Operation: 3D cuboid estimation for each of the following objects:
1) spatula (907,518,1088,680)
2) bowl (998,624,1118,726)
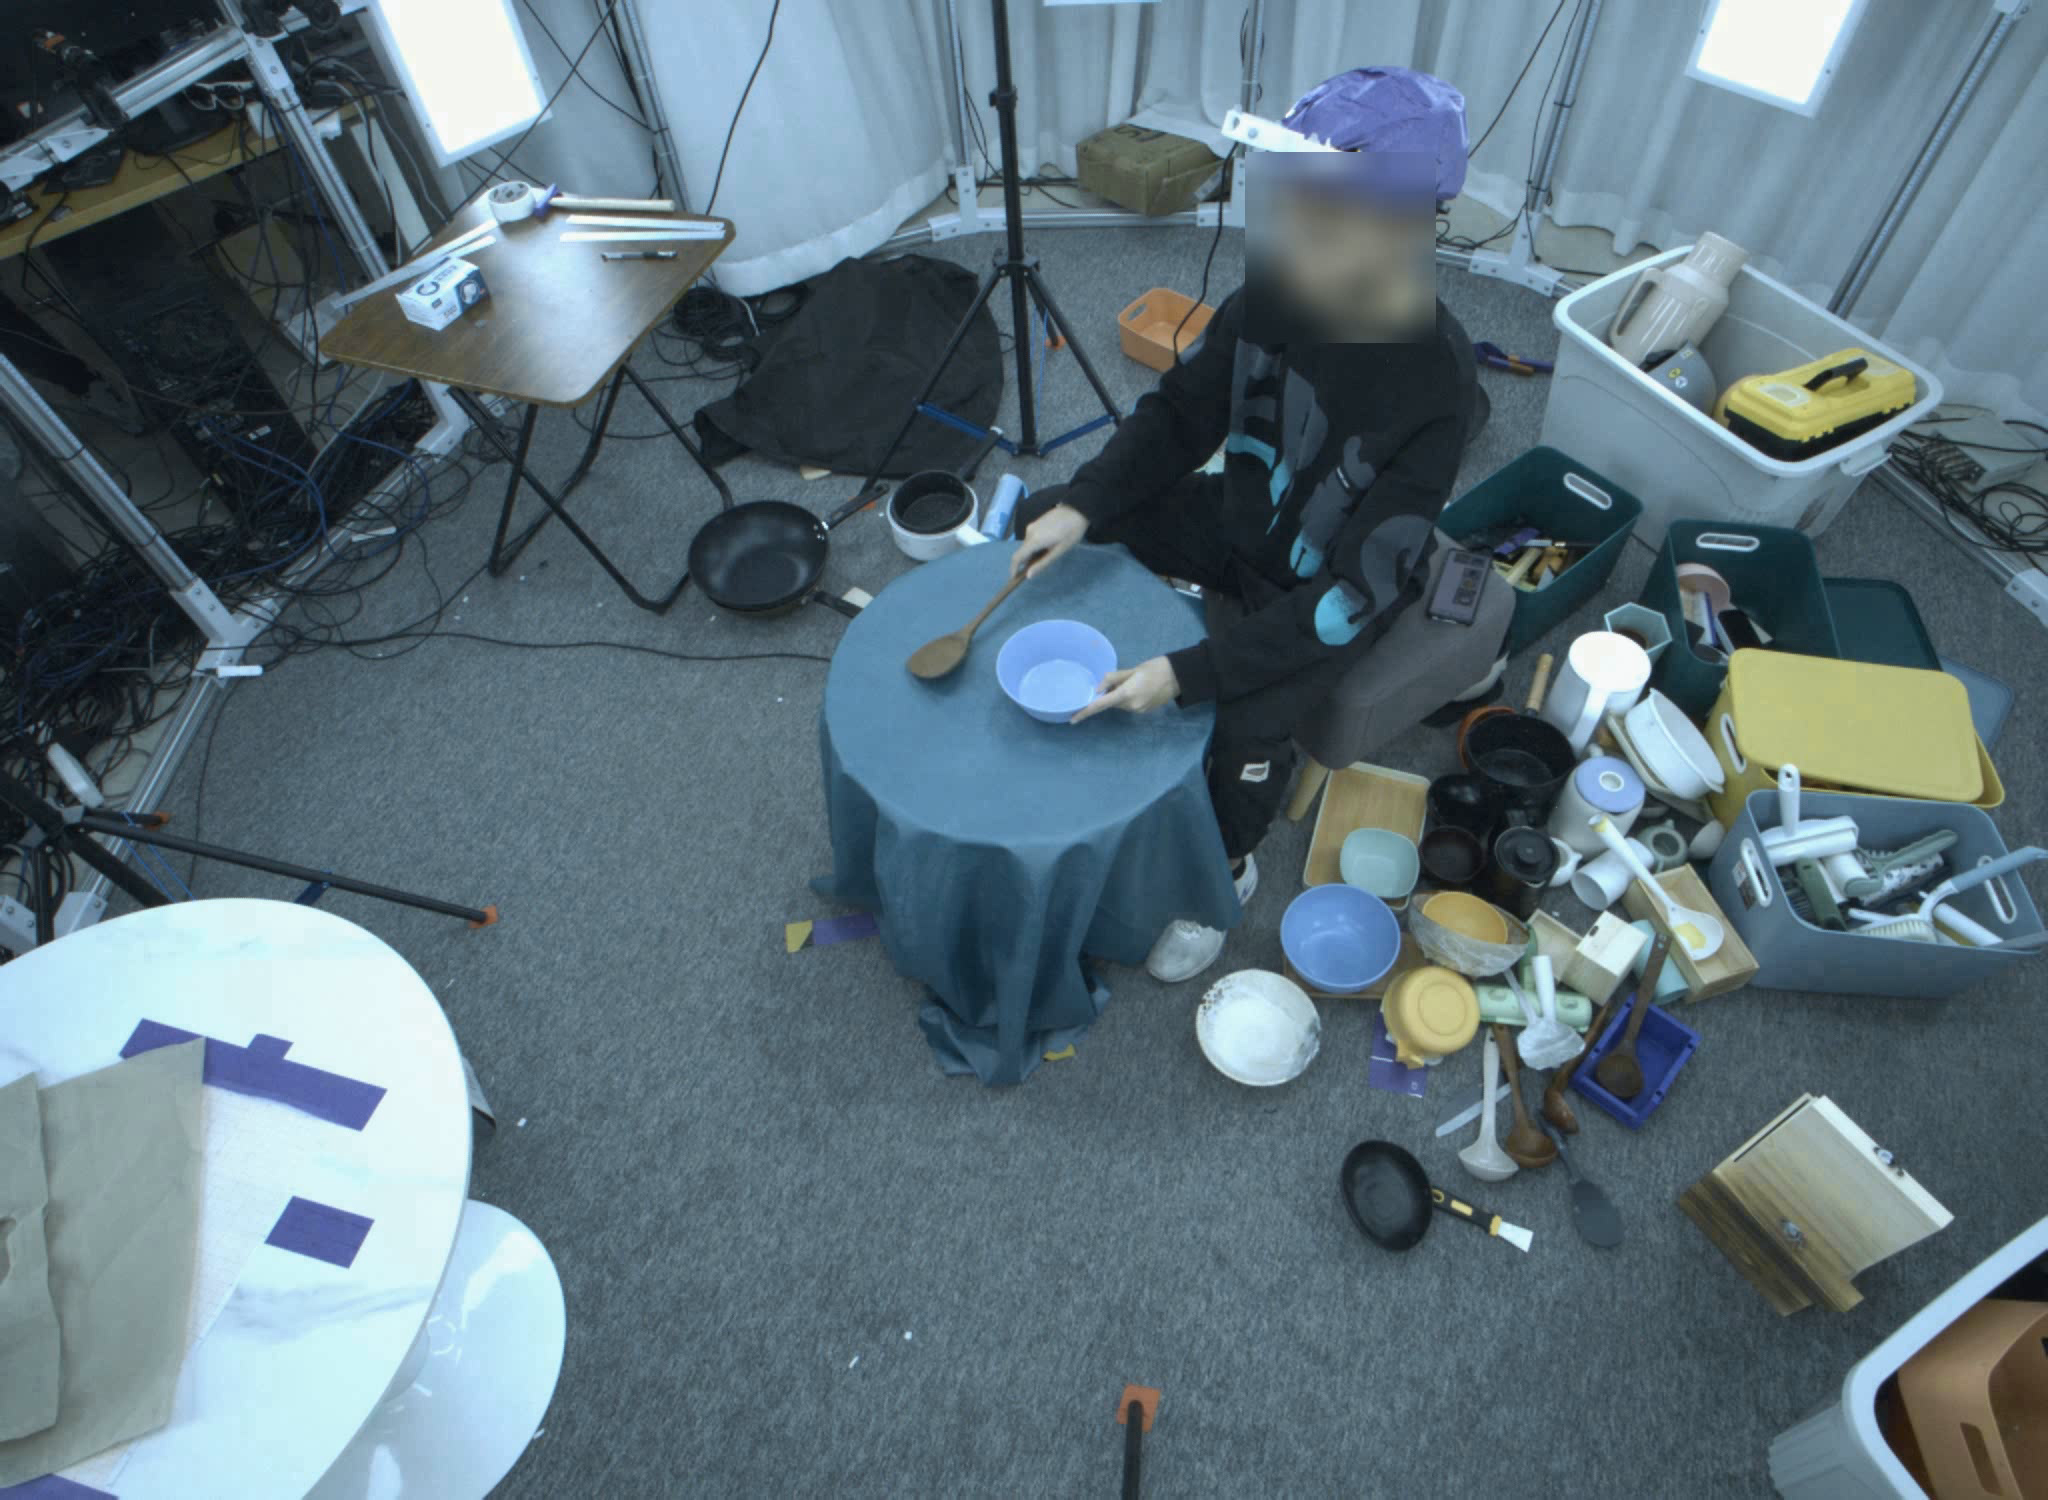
[{"bbox_3d":[-0.031,-0.243,1.913,0.387,0.016,0.094,-46,42,-18],"label":"spatula"},{"bbox_3d":[0.050,-0.101,1.825,0.176,0.071,0.174,0,54,1],"label":"bowl"}]
